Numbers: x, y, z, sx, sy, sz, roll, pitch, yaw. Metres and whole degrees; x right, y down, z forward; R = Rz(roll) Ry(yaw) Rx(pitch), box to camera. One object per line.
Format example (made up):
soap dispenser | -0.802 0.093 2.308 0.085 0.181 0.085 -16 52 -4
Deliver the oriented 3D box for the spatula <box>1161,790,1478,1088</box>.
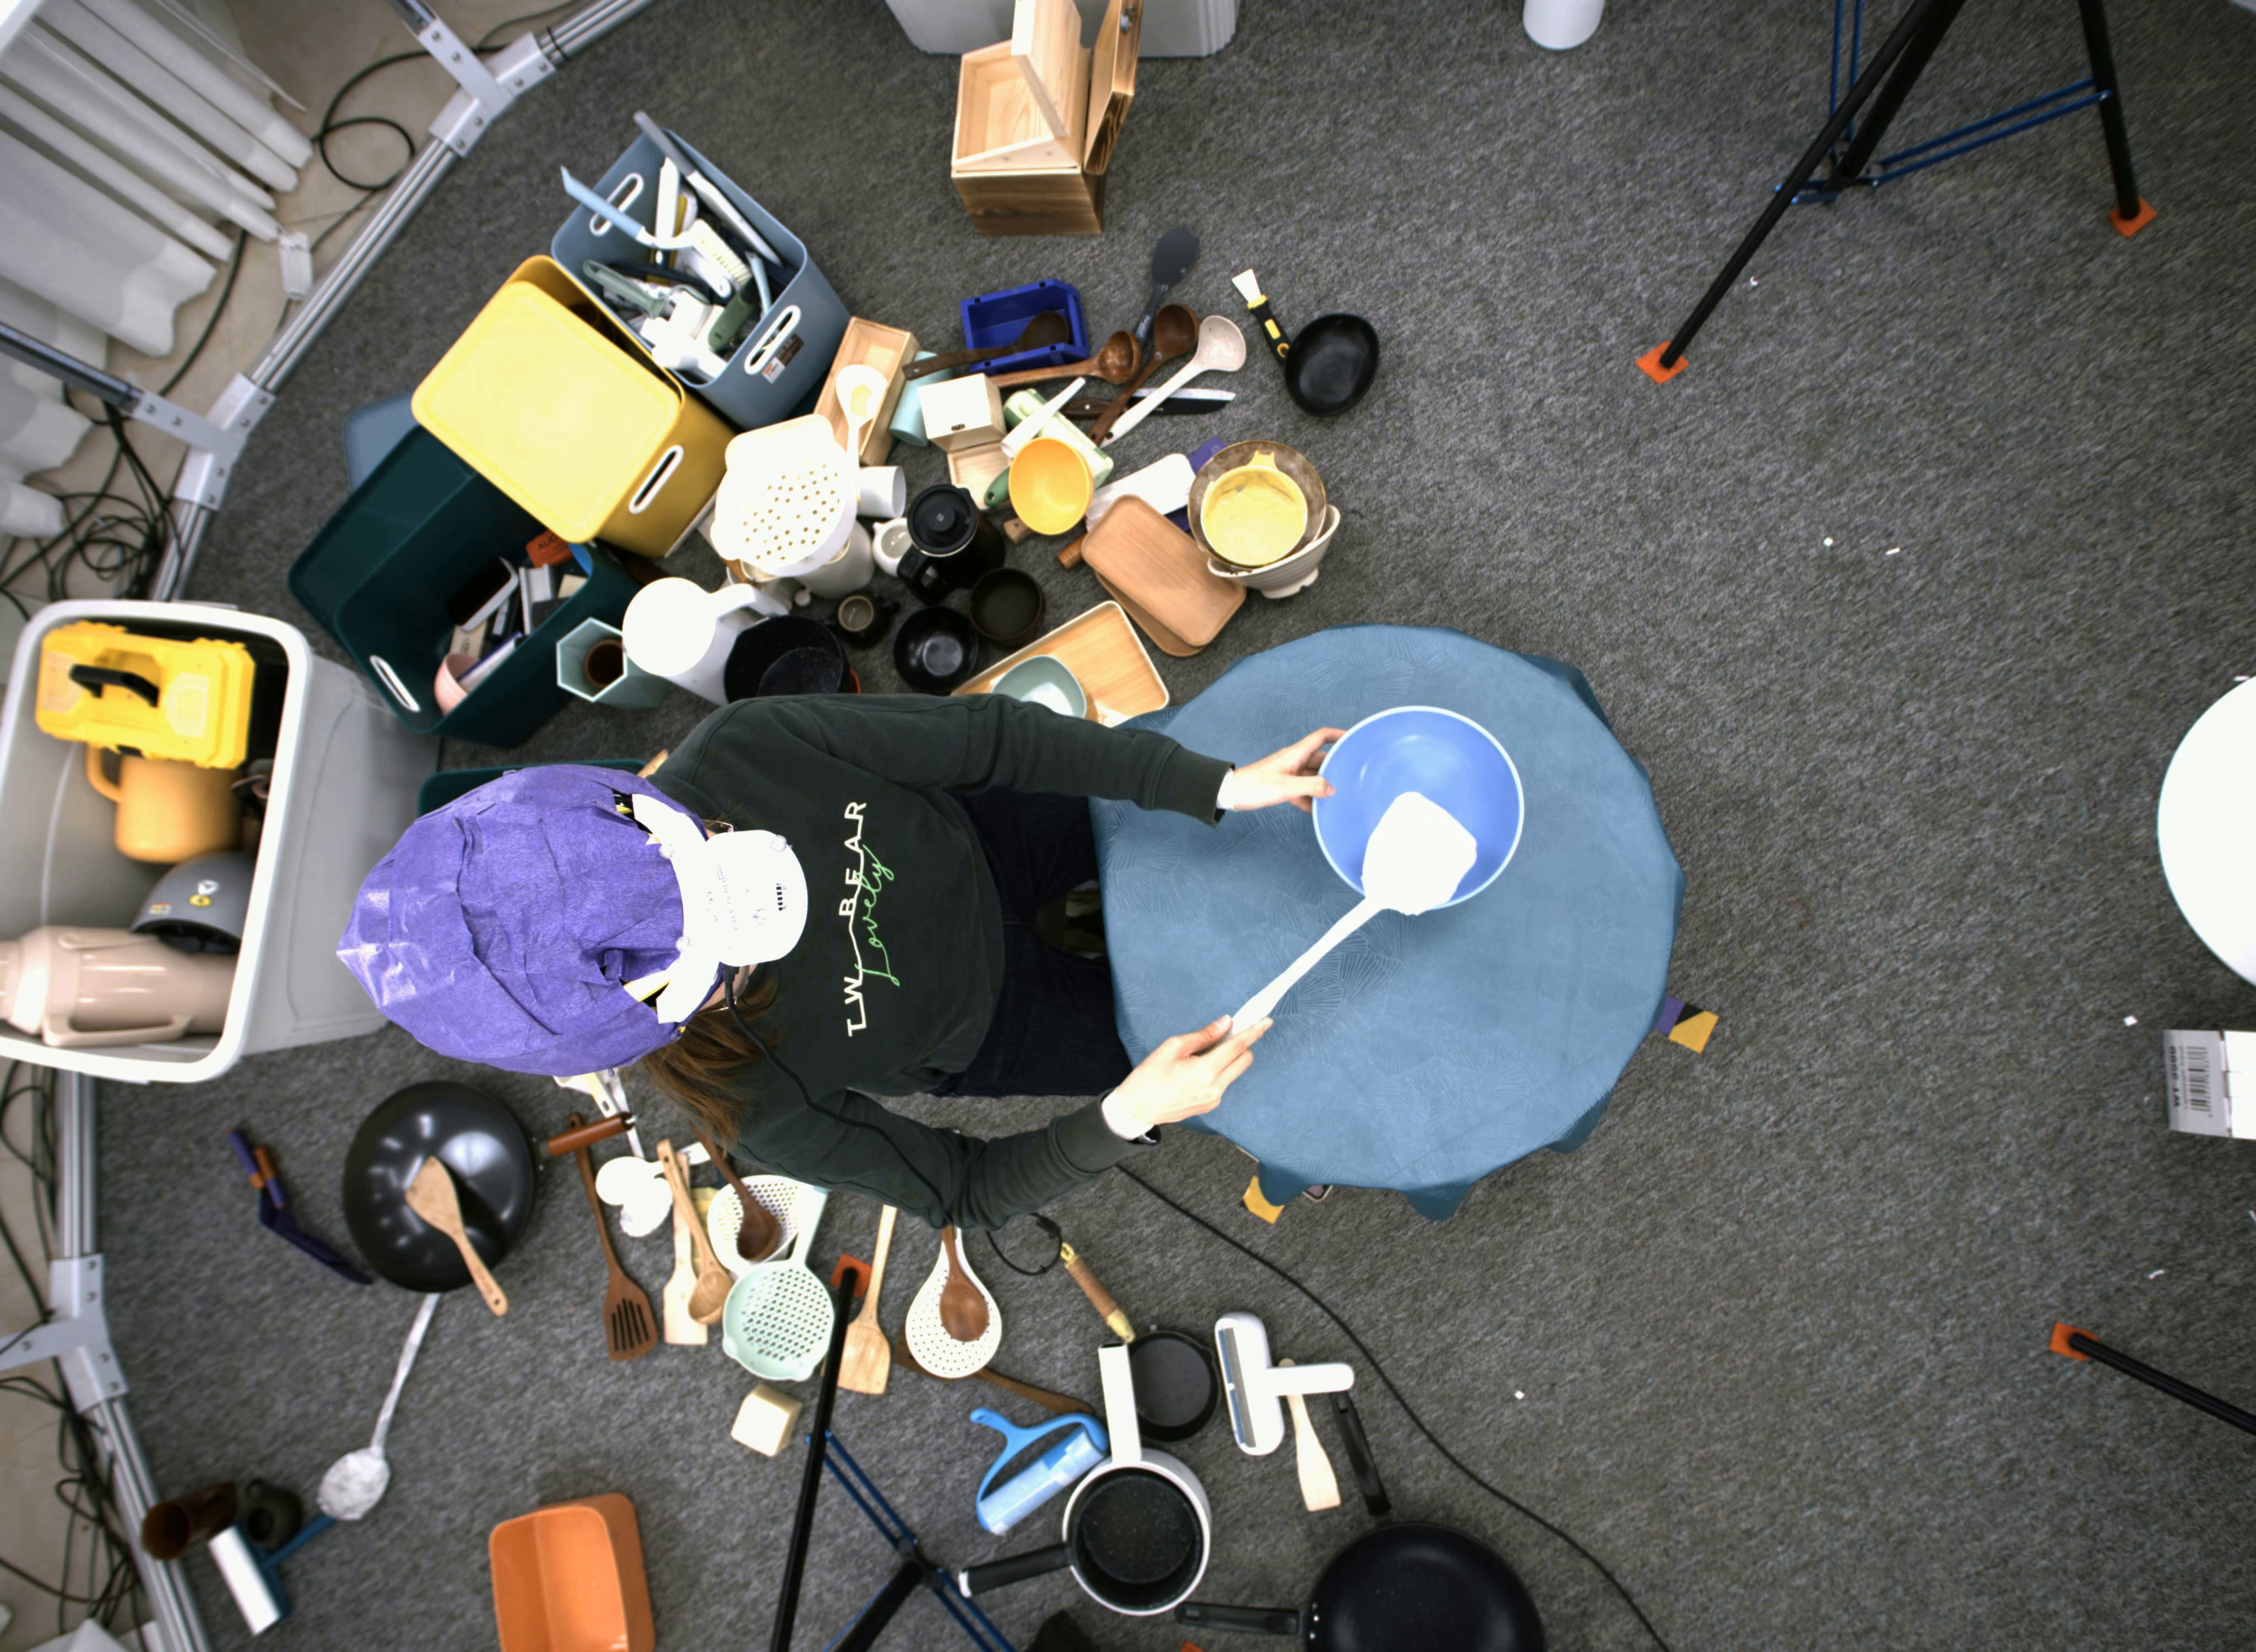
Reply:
spatula | 0.166 0.115 1.263 0.364 0.045 0.097 -42 62 -2

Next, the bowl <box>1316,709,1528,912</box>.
bowl | 0.285 -0.024 1.338 0.197 0.094 0.199 3 105 12
